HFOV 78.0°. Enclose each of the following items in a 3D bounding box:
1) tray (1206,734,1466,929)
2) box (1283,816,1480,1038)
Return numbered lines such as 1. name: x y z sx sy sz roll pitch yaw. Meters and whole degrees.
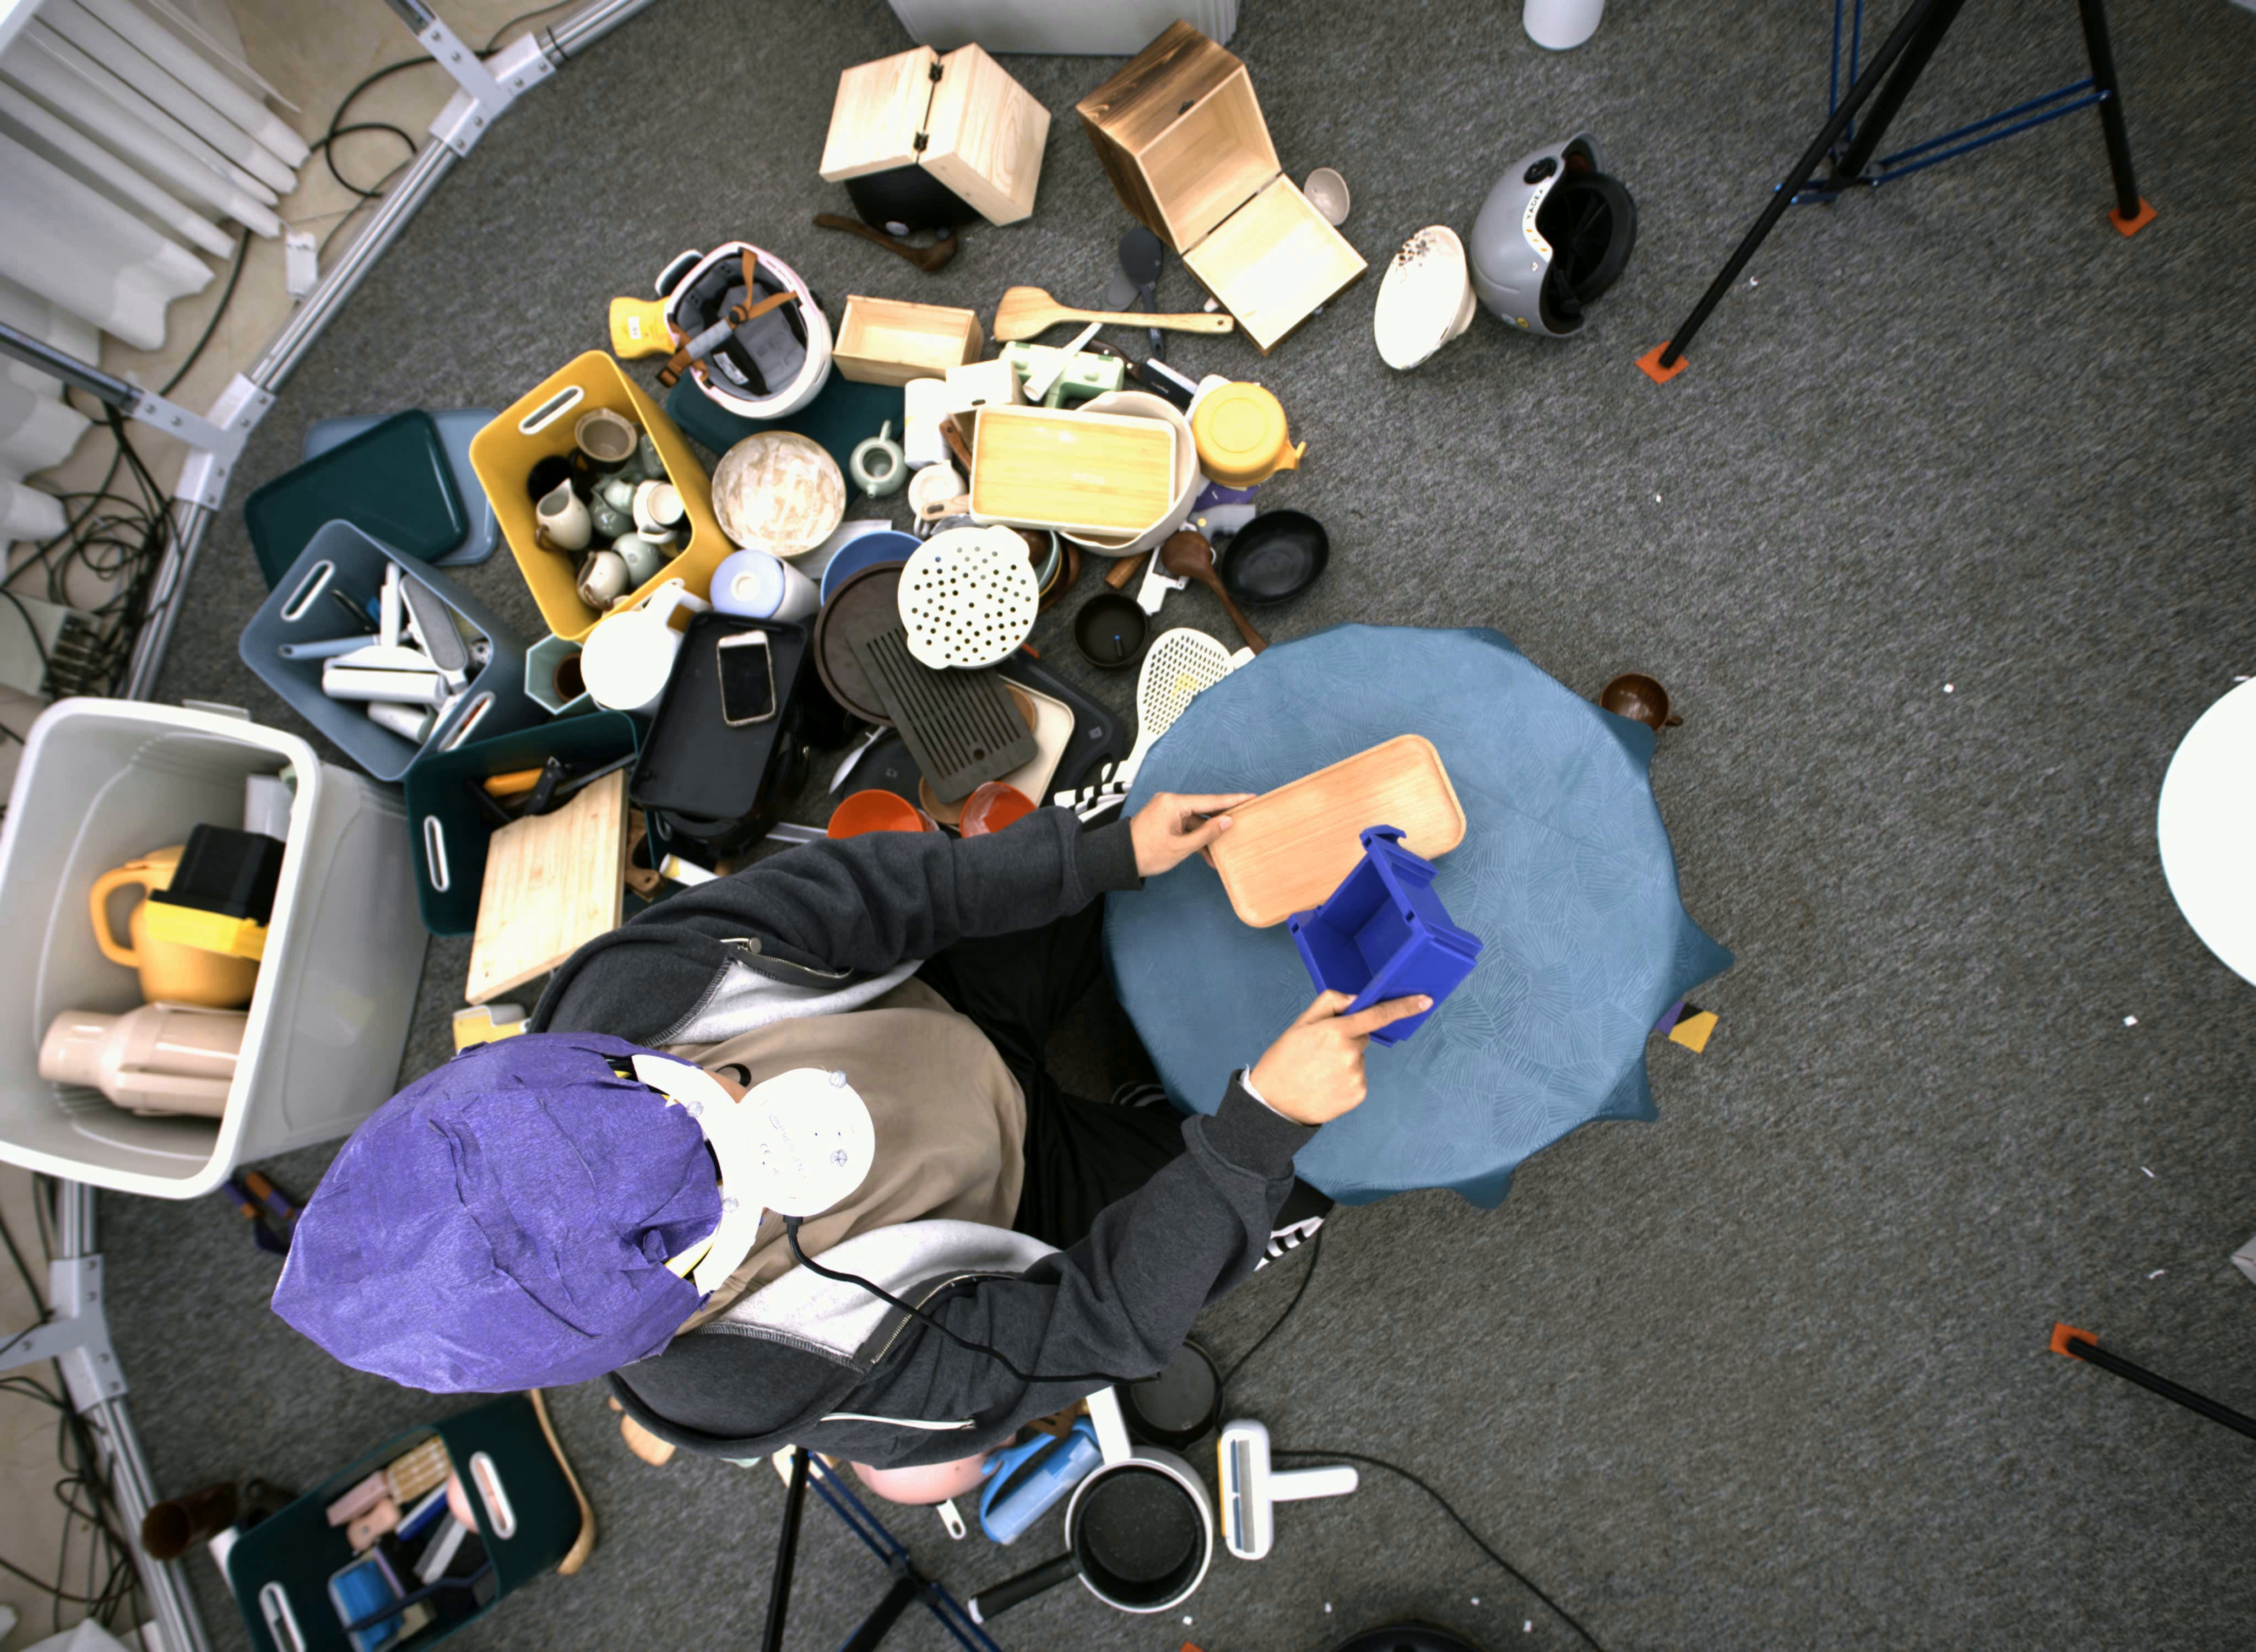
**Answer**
1. tray: 0.210 0.005 1.400 0.252 0.023 0.130 -23 89 9
2. box: 0.218 0.087 1.220 0.127 0.082 0.175 -52 36 27
